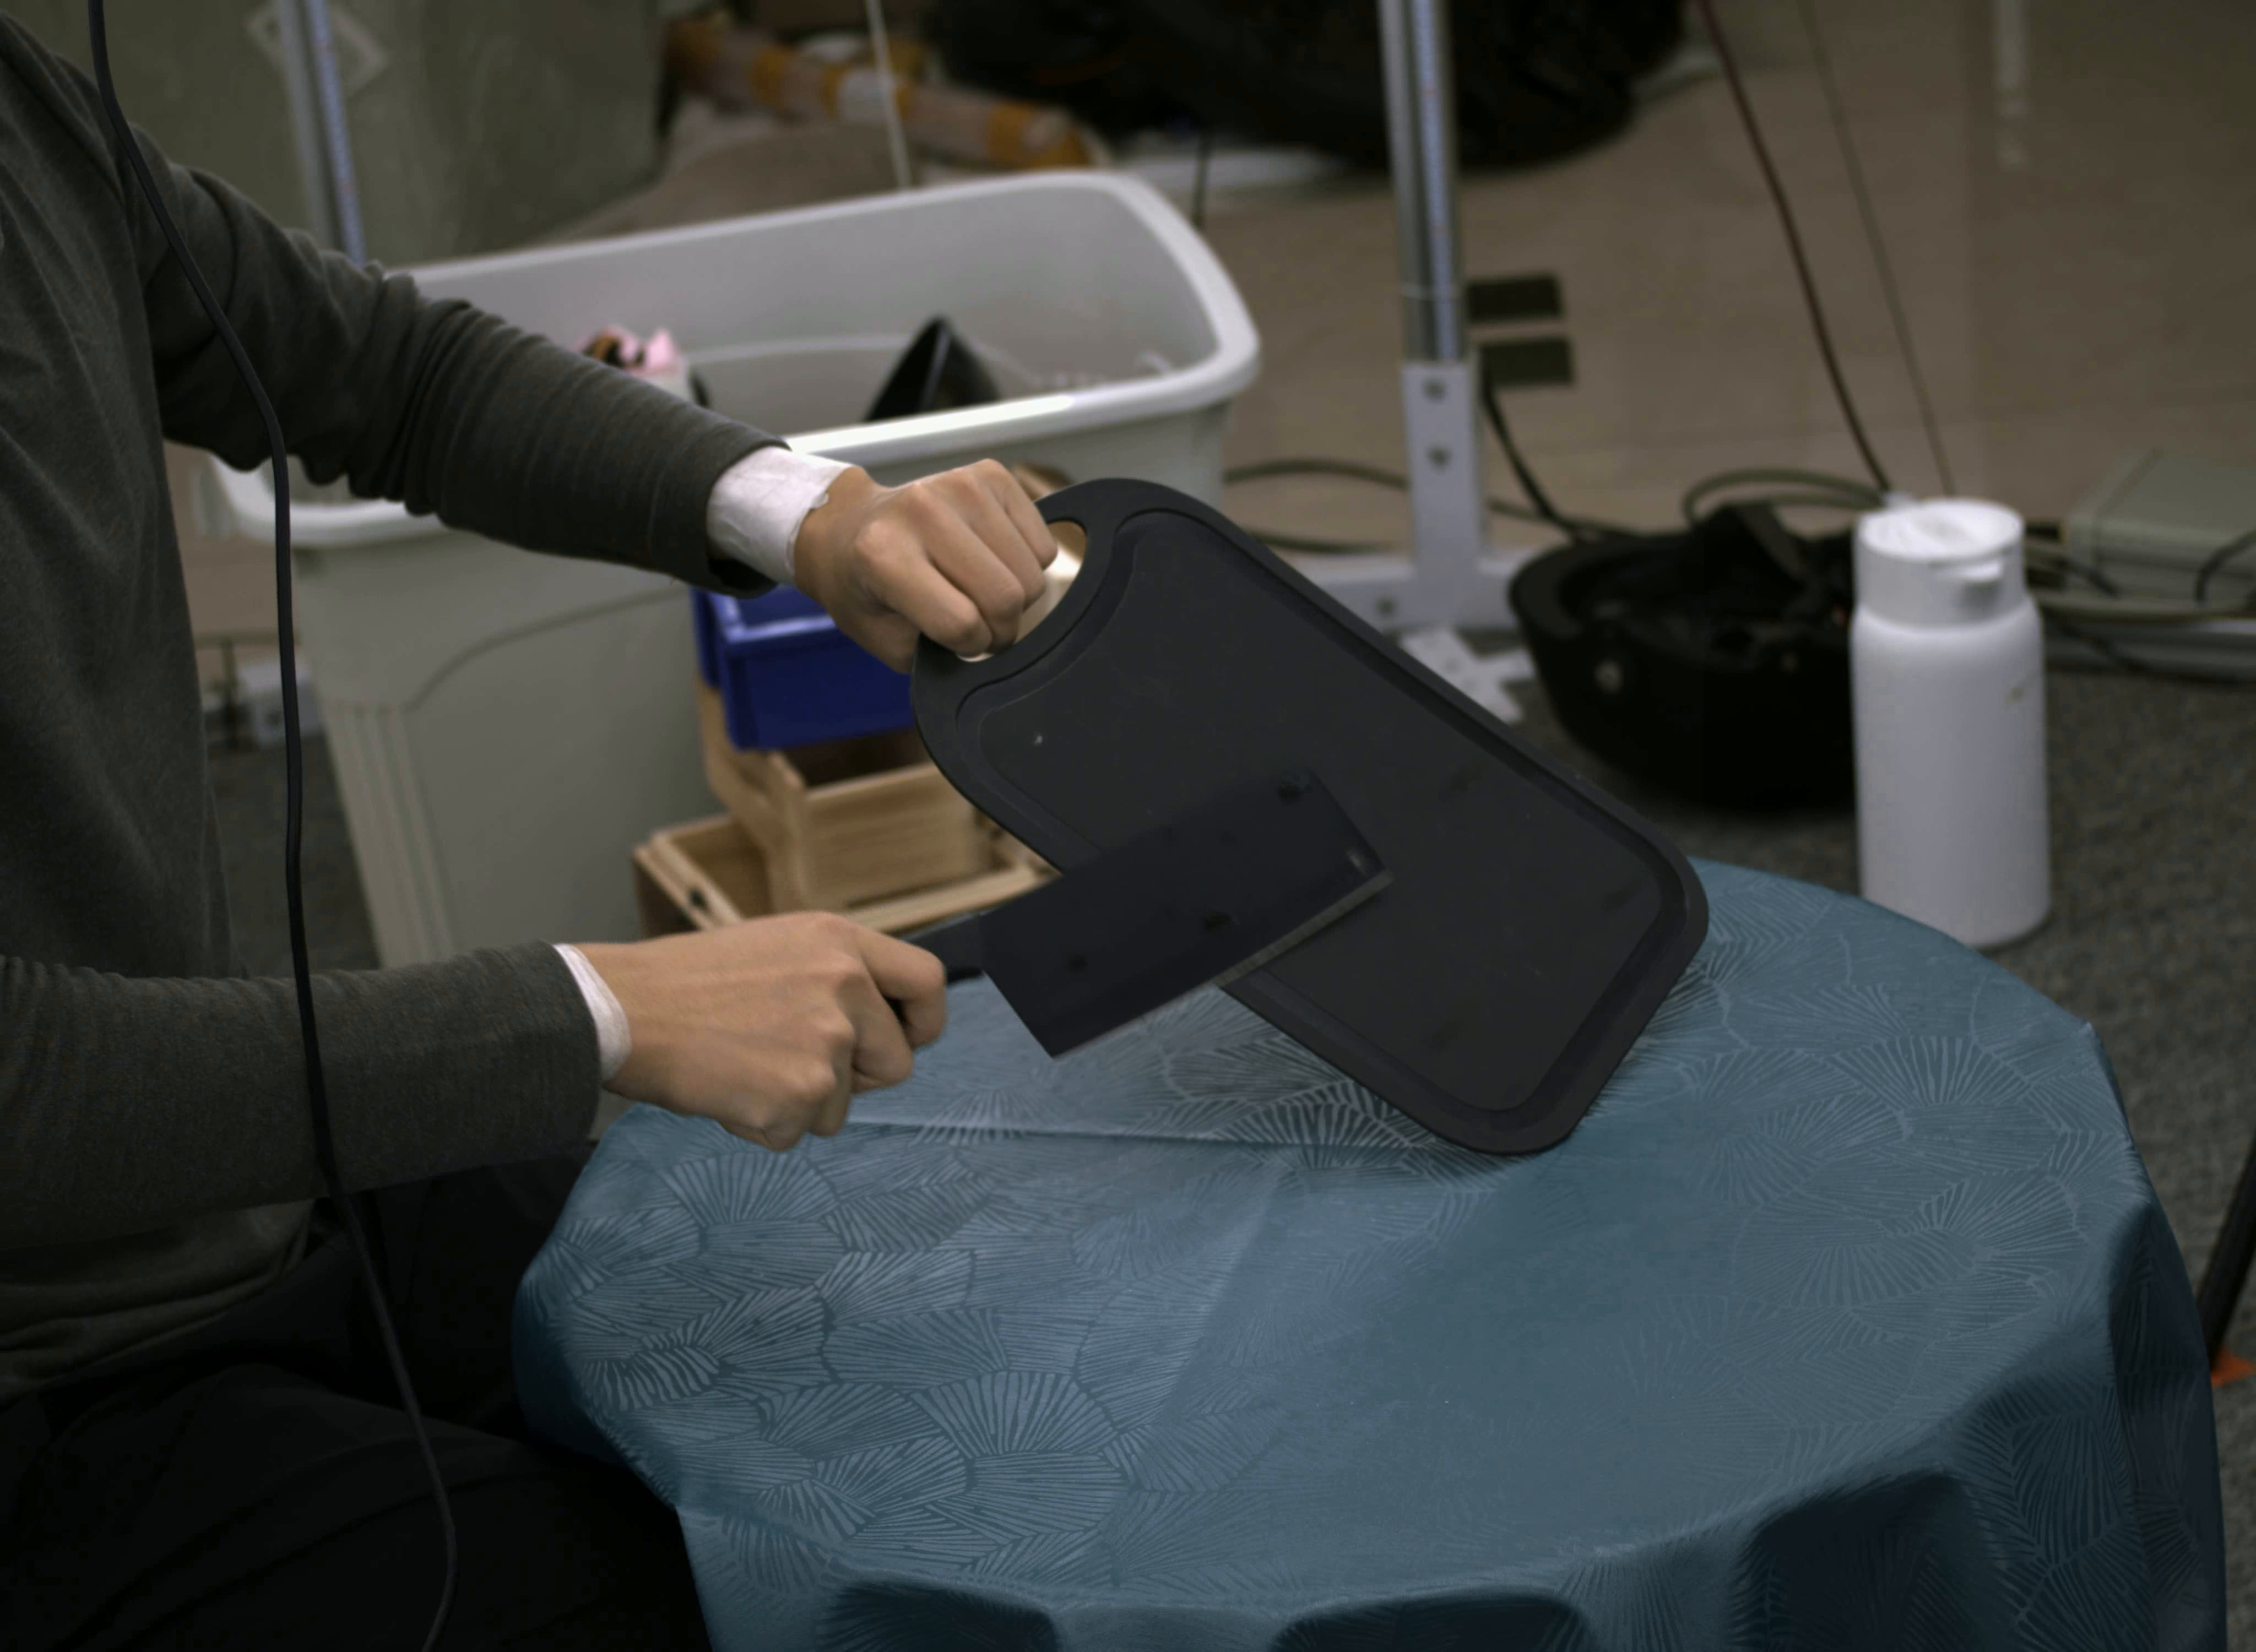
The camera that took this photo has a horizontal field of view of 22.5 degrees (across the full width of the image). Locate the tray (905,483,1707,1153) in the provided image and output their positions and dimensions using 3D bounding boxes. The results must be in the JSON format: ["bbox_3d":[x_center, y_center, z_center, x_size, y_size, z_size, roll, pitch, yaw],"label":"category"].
[{"bbox_3d":[0.066,-0.012,2.209,0.325,0.010,0.208,36,46,4],"label":"tray"}]

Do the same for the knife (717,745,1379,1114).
[{"bbox_3d":[-0.030,0.044,2.120,0.300,0.021,0.080,-22,70,-33],"label":"knife"}]
